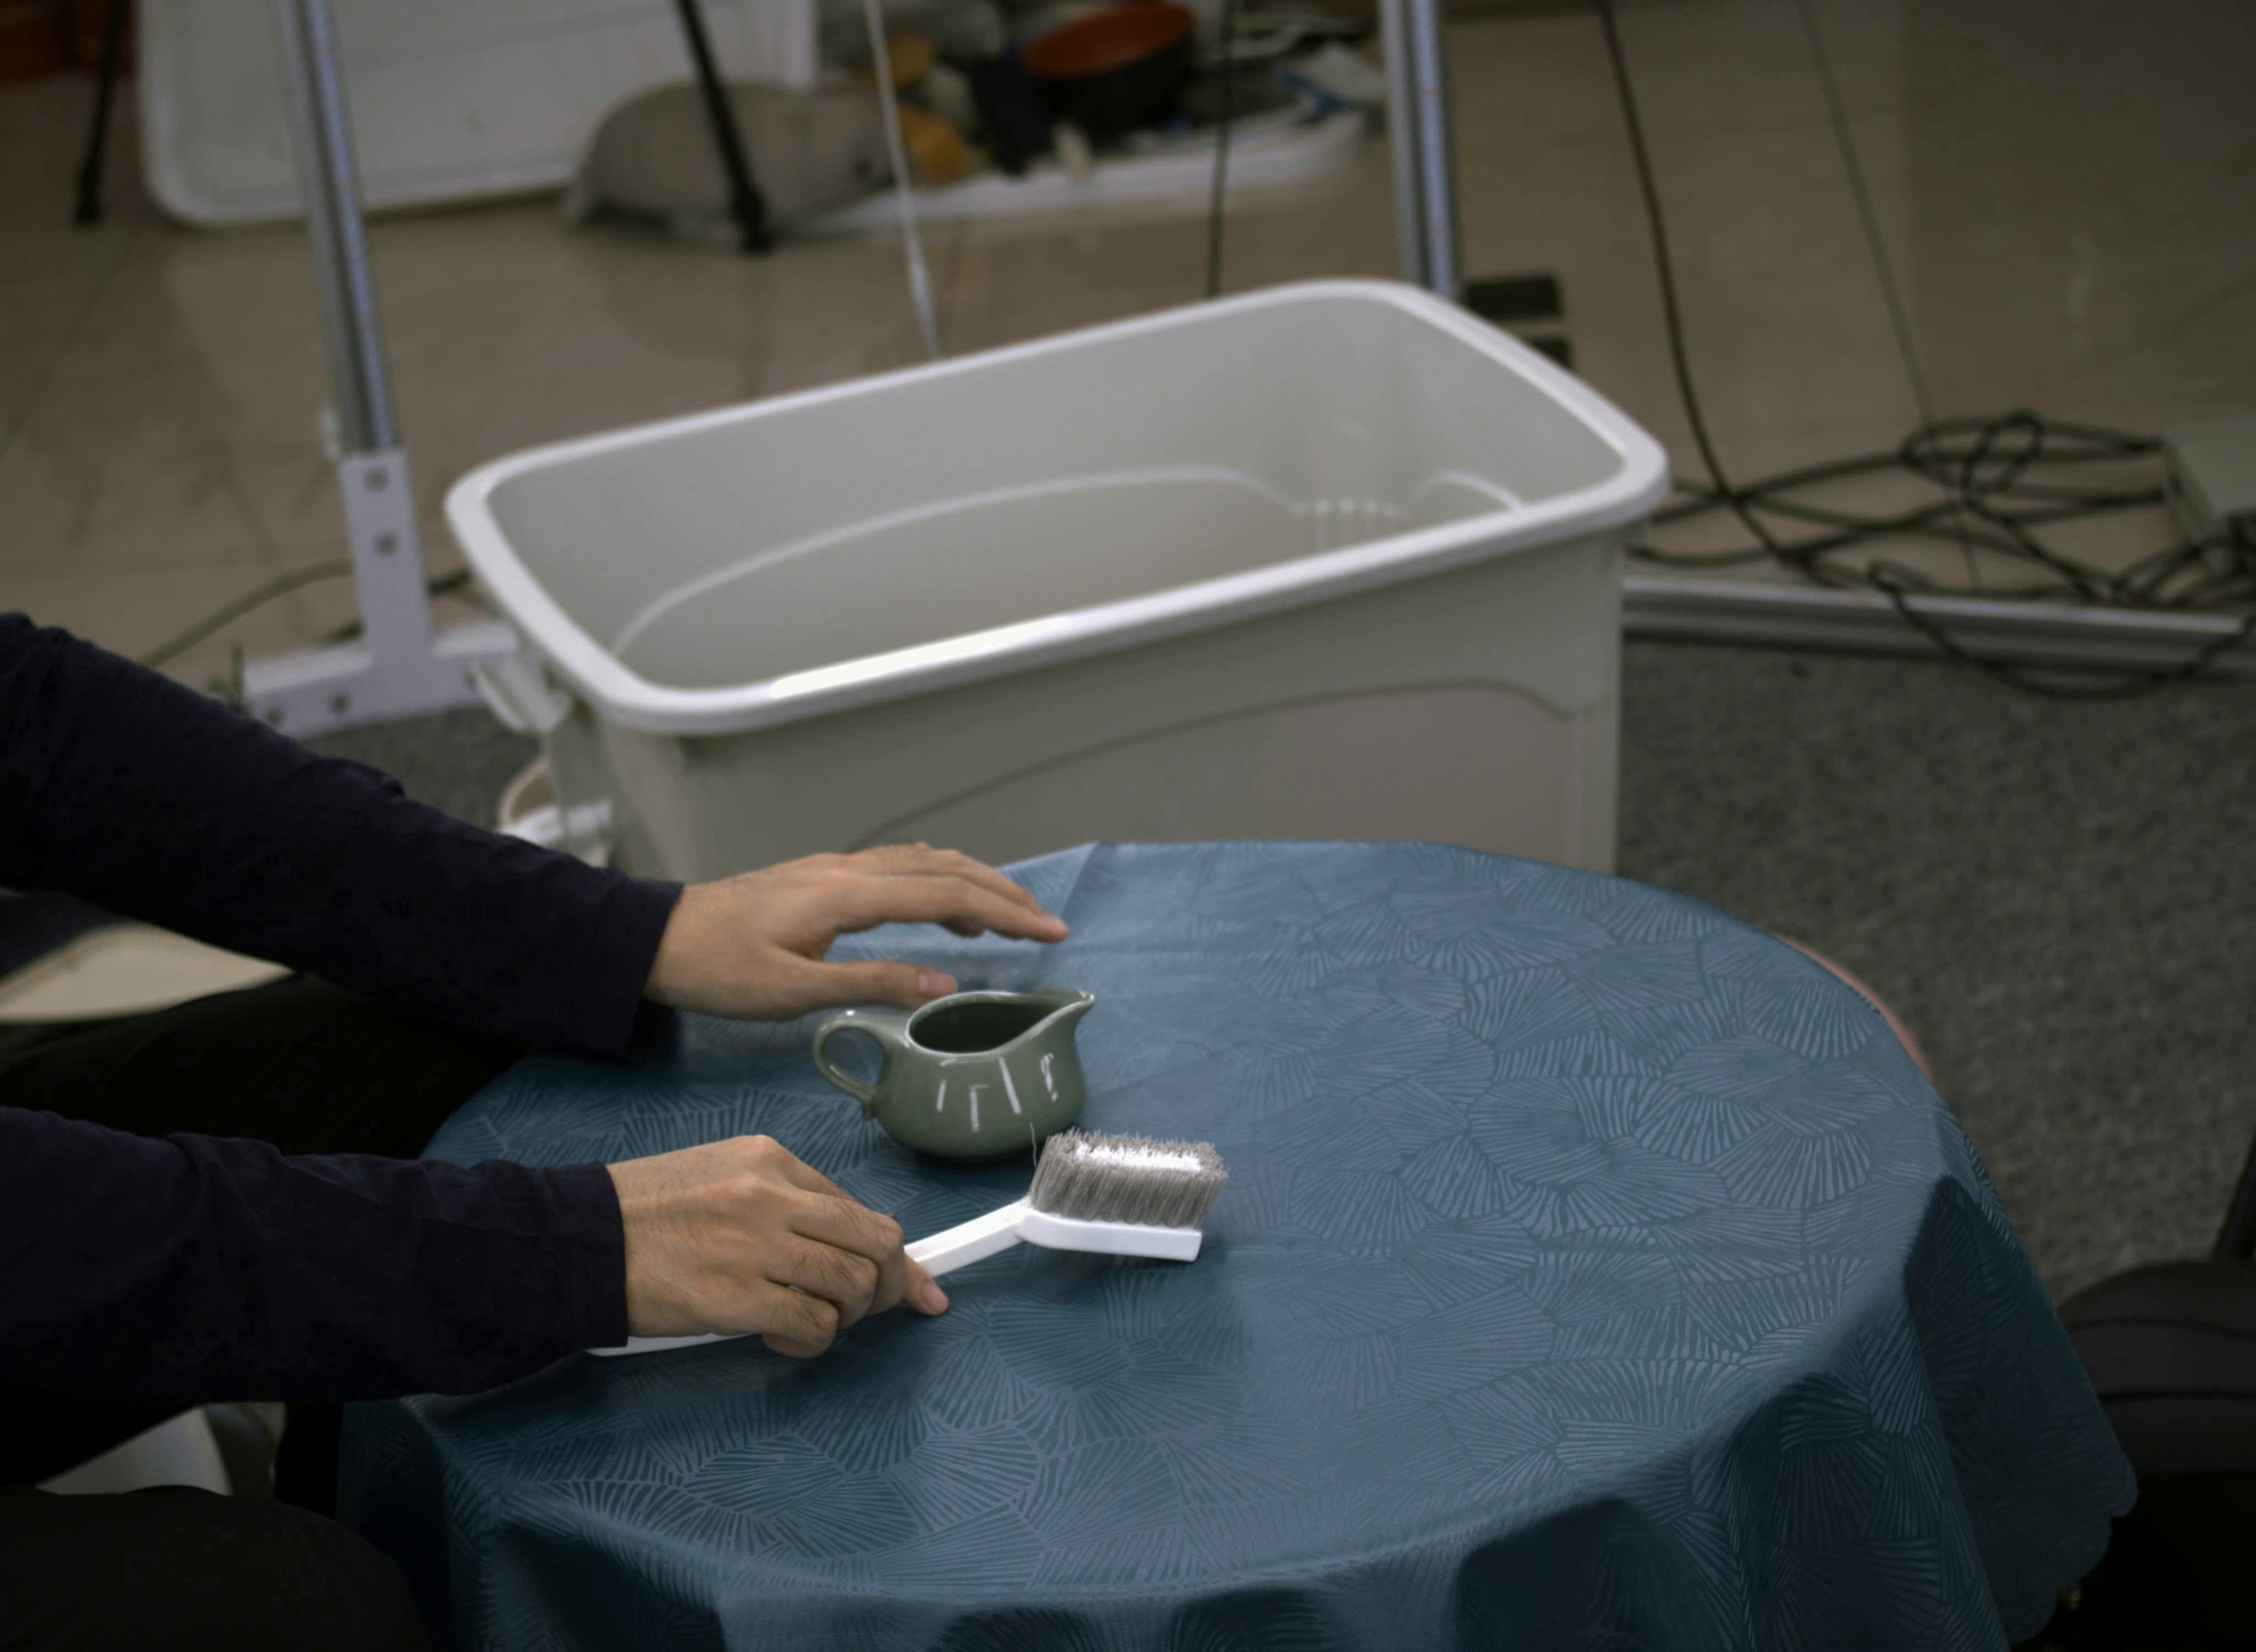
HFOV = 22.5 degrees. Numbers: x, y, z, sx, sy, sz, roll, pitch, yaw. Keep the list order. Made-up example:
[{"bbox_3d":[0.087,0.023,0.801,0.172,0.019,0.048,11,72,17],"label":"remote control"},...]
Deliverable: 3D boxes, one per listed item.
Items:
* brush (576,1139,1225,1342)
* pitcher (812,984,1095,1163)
[{"bbox_3d":[-0.085,0.151,2.087,0.243,0.051,0.034,-8,33,-3],"label":"brush"},{"bbox_3d":[-0.065,0.095,2.192,0.112,0.057,0.083,-8,24,0],"label":"pitcher"}]
